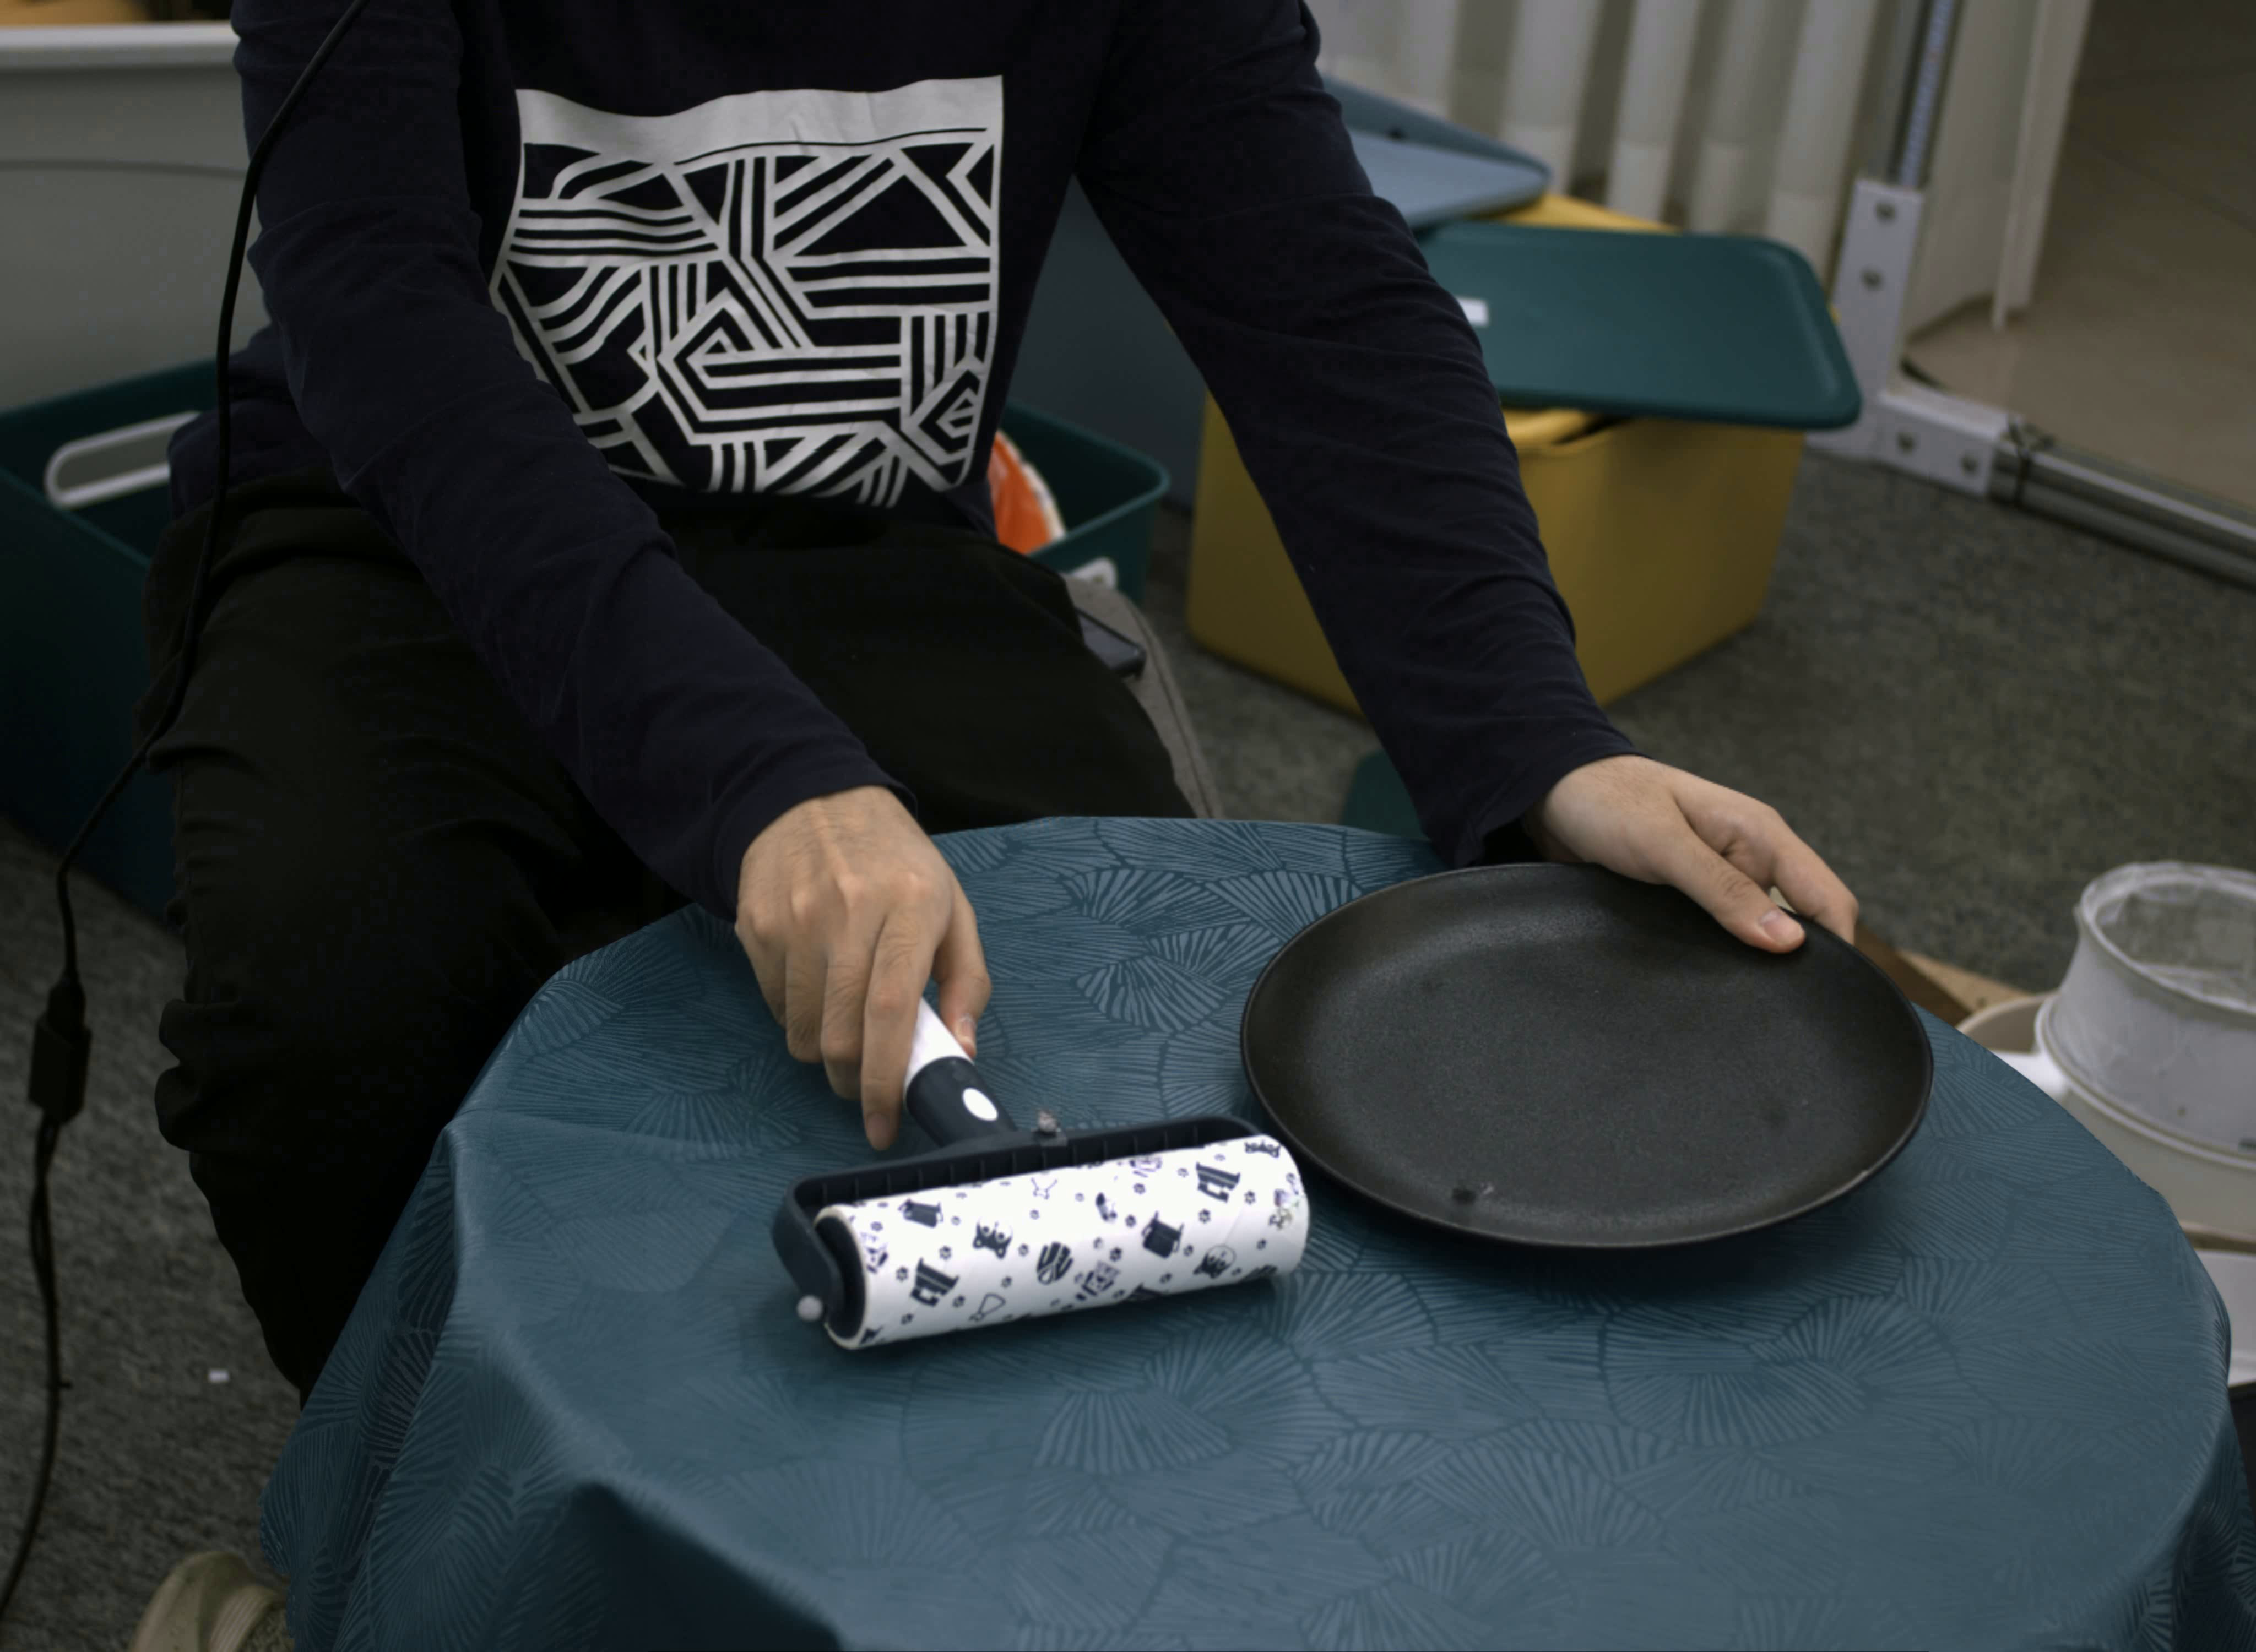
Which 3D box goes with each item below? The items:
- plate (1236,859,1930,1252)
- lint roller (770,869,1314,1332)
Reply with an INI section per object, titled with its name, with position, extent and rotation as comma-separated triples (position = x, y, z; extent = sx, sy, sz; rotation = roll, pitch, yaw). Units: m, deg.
[plate]
position = 0.159, 0.084, 1.871
extent = 0.244, 0.023, 0.246
rotation = 0, 31, 0
[lint roller]
position = -0.067, 0.079, 1.801
extent = 0.175, 0.050, 0.249
rotation = -7, 35, -26
